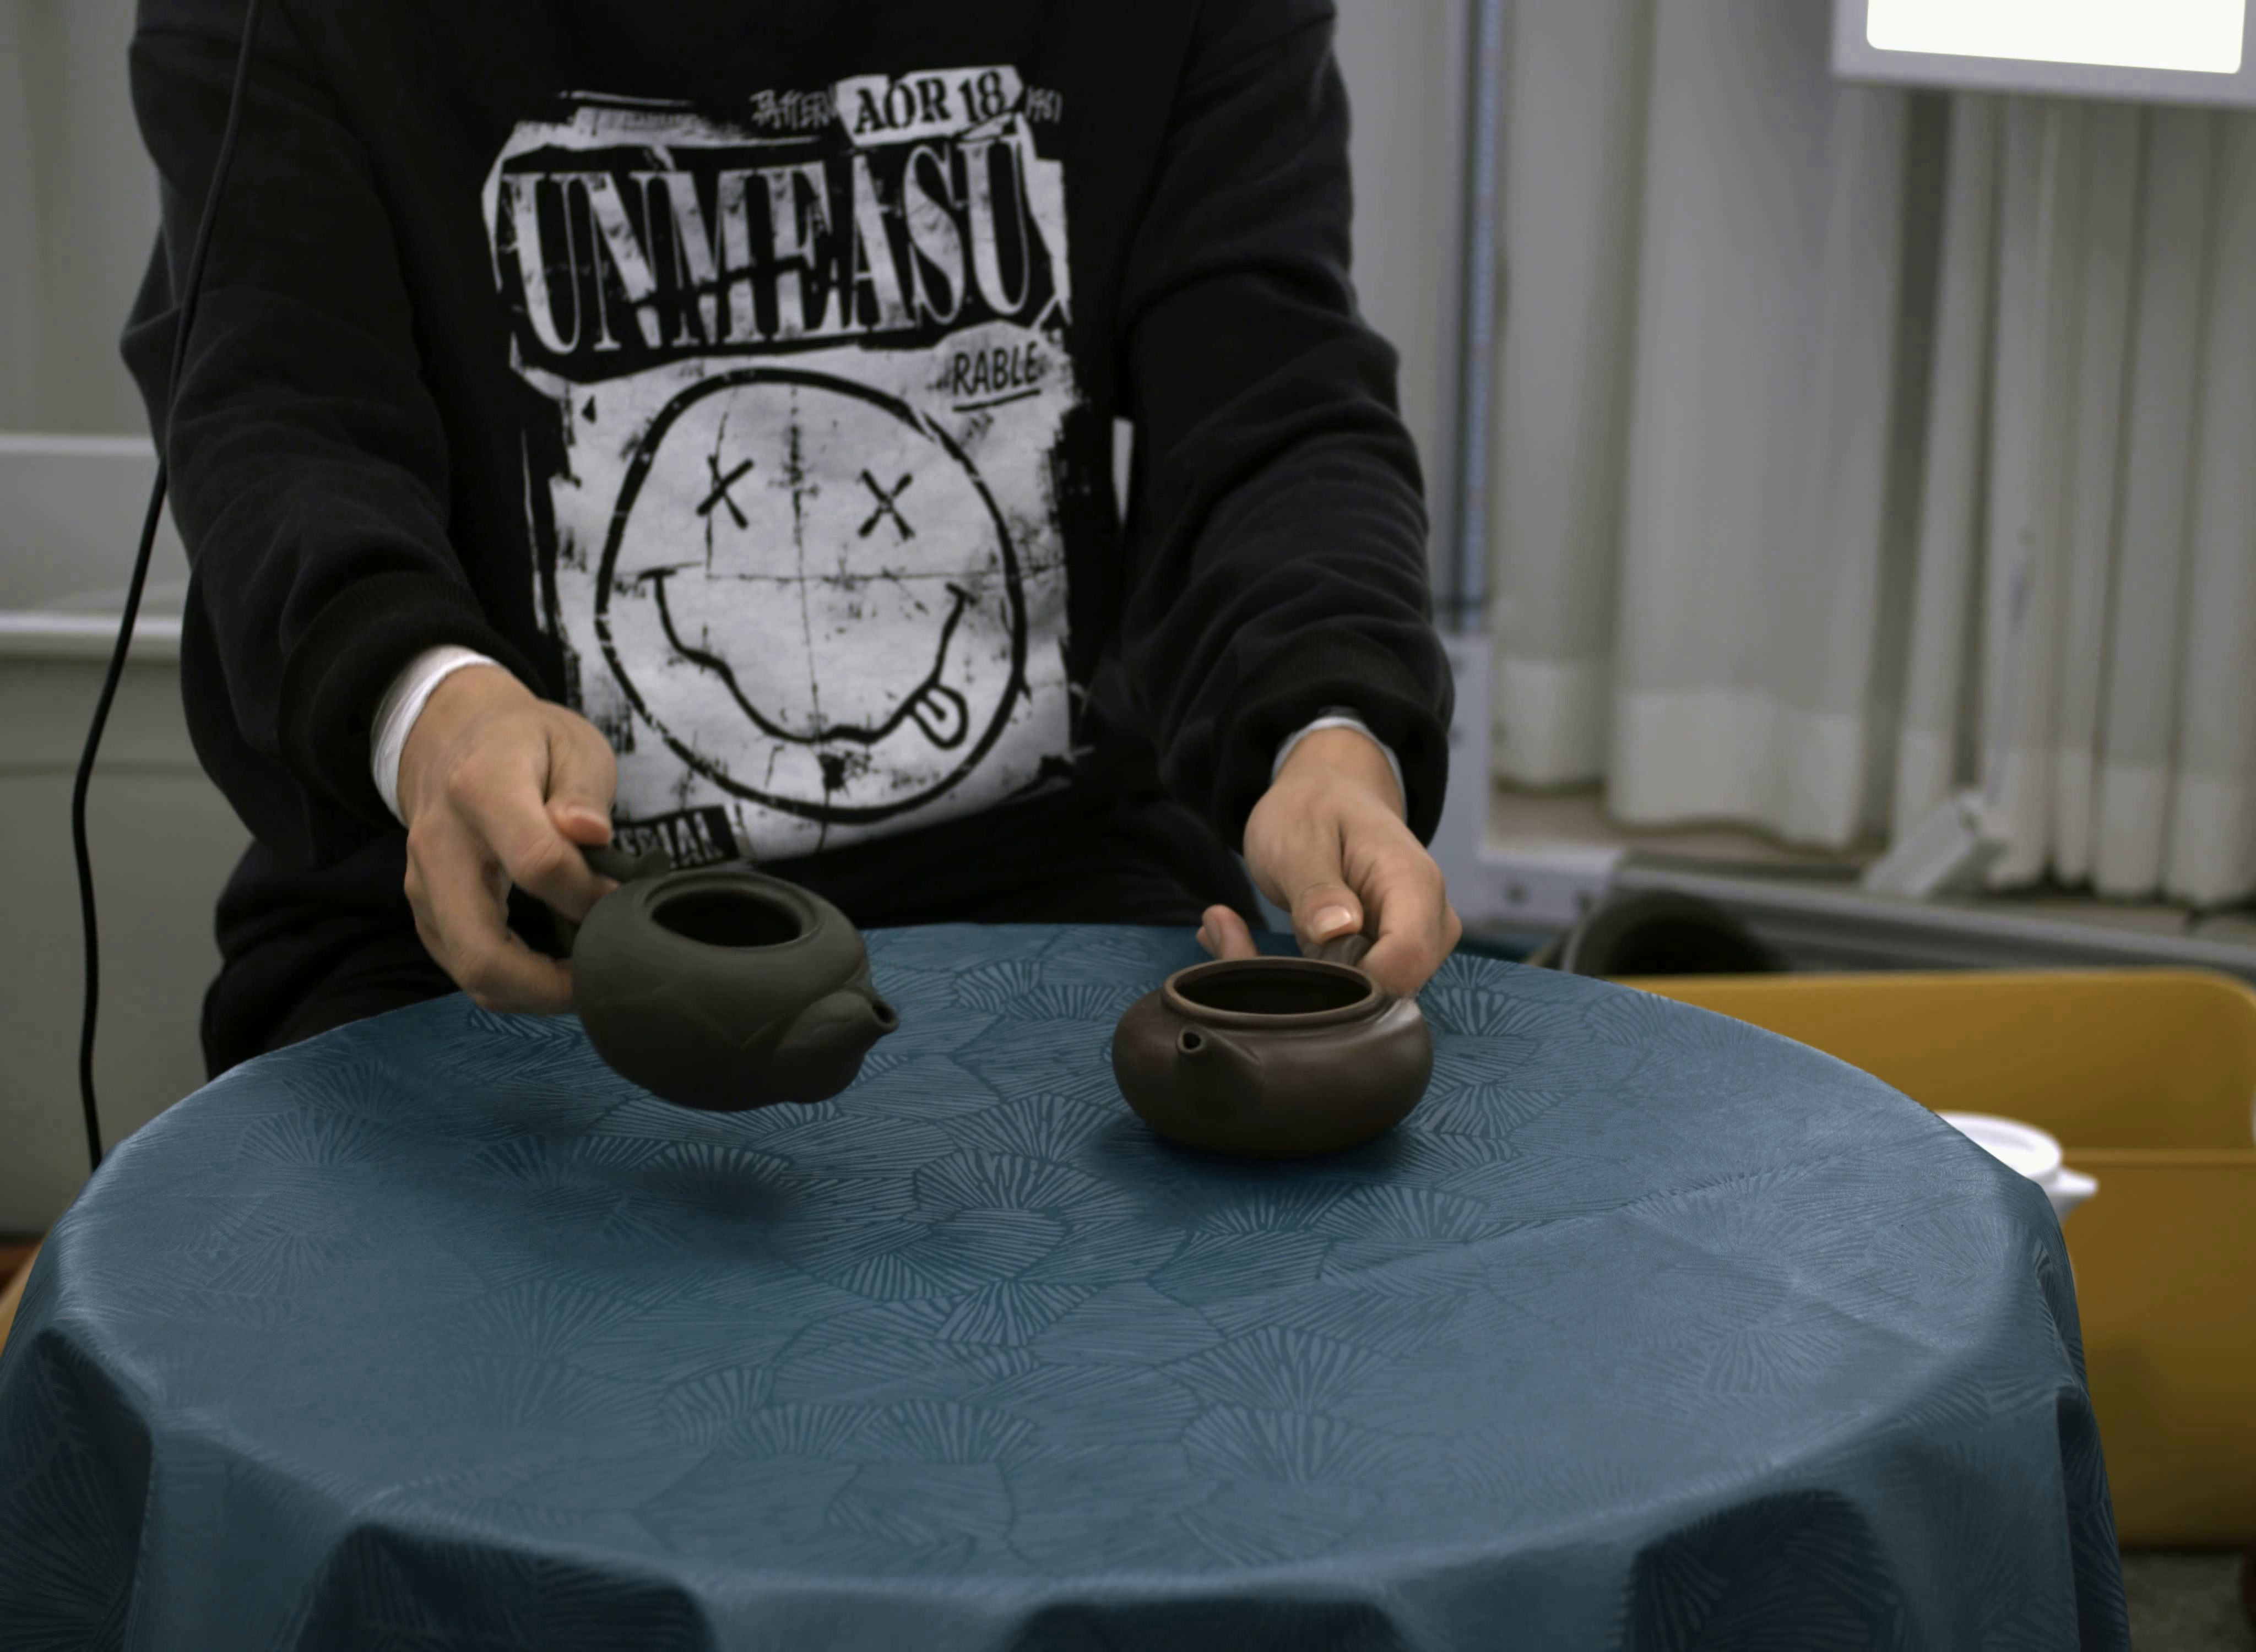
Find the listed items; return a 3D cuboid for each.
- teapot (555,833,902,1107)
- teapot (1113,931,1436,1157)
[{"bbox_3d":[-0.126,0.046,1.612,0.152,0.065,0.093,29,27,37],"label":"teapot"},{"bbox_3d":[0.048,0.070,1.675,0.102,0.054,0.153,7,17,16],"label":"teapot"}]
